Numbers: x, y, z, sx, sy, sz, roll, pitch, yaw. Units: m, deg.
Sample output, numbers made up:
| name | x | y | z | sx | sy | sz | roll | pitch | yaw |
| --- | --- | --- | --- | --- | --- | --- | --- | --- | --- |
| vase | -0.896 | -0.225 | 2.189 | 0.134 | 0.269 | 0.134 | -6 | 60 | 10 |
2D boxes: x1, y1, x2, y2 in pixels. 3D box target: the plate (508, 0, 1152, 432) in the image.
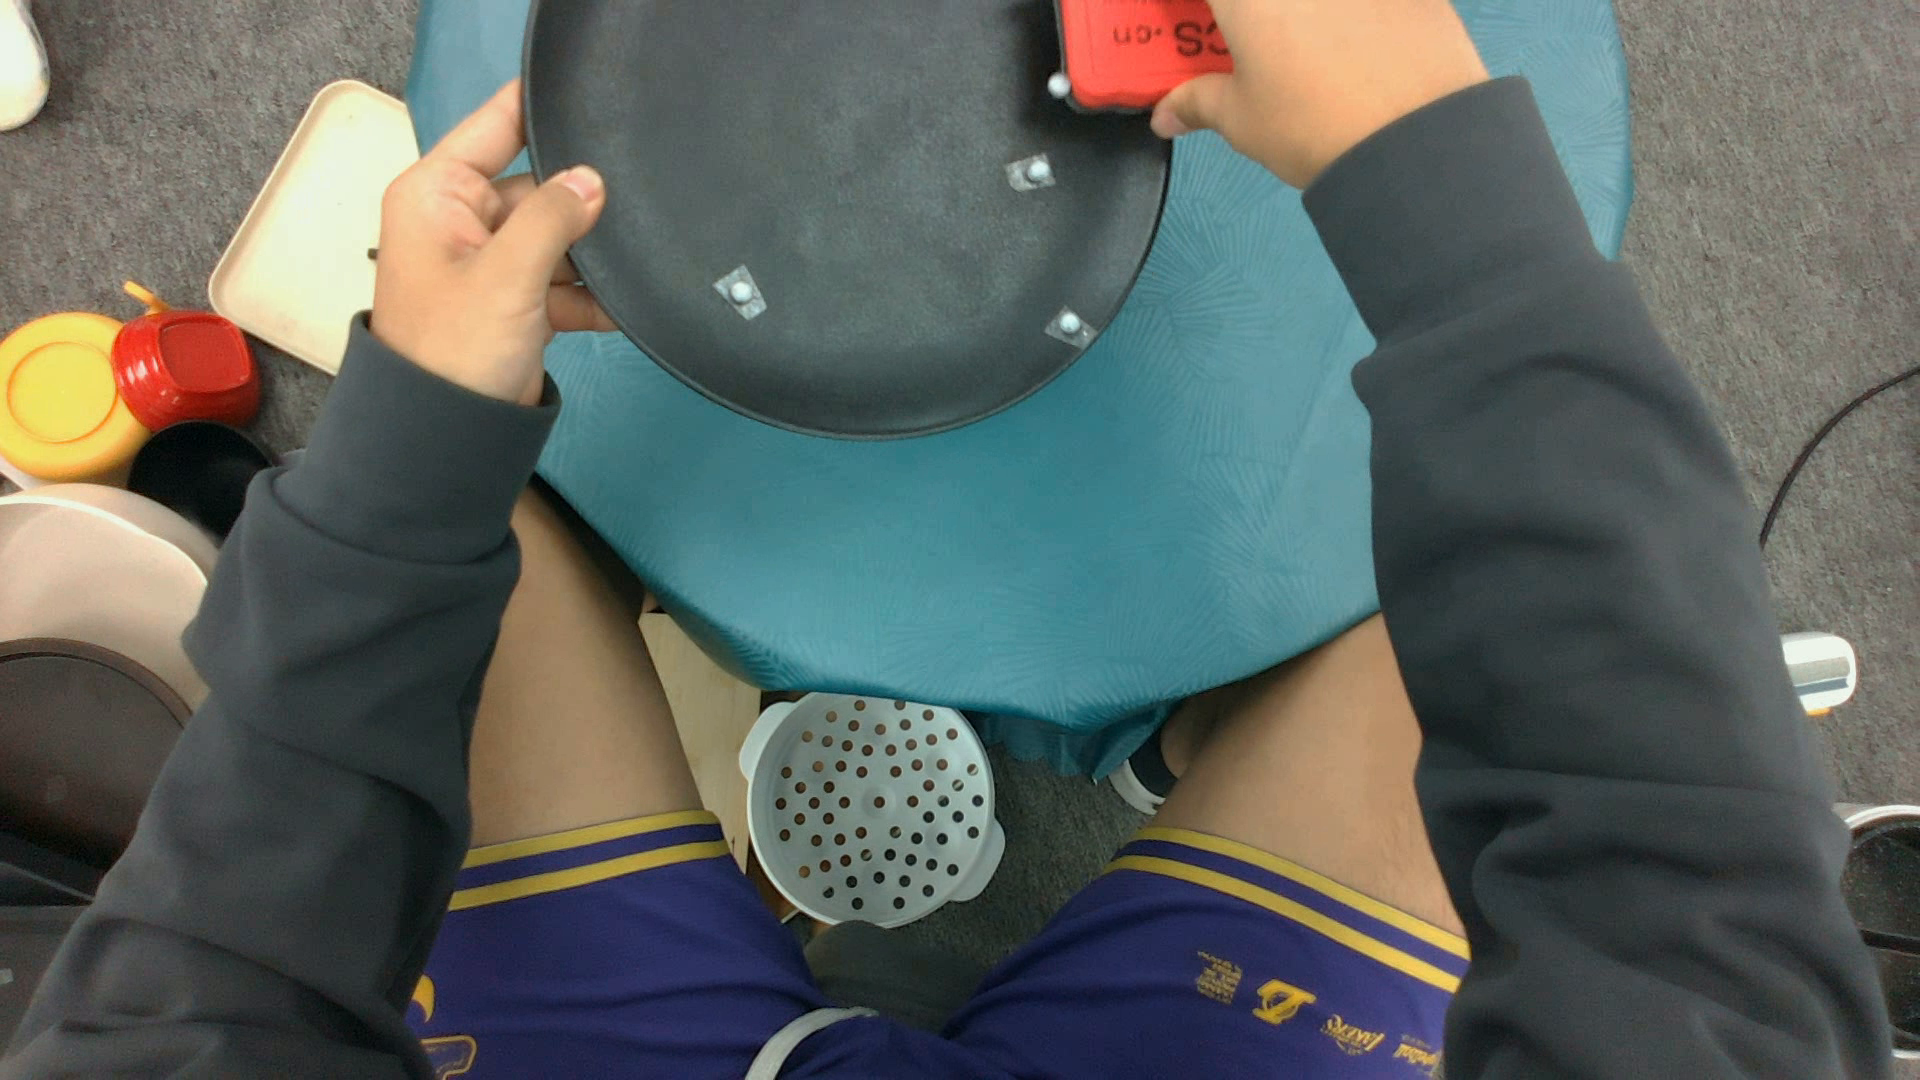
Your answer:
| name | x | y | z | sx | sy | sz | roll | pitch | yaw |
| --- | --- | --- | --- | --- | --- | --- | --- | --- | --- |
| plate | -0.043 | -0.162 | 0.523 | 0.245 | 0.023 | 0.244 | 0 | 91 | -16 |

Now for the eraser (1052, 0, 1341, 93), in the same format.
| name | x | y | z | sx | sy | sz | roll | pitch | yaw |
| --- | --- | --- | --- | --- | --- | --- | --- | --- | --- |
| eraser | 0.089 | -0.202 | 0.523 | 0.108 | 0.023 | 0.059 | -4 | 89 | -10 |
